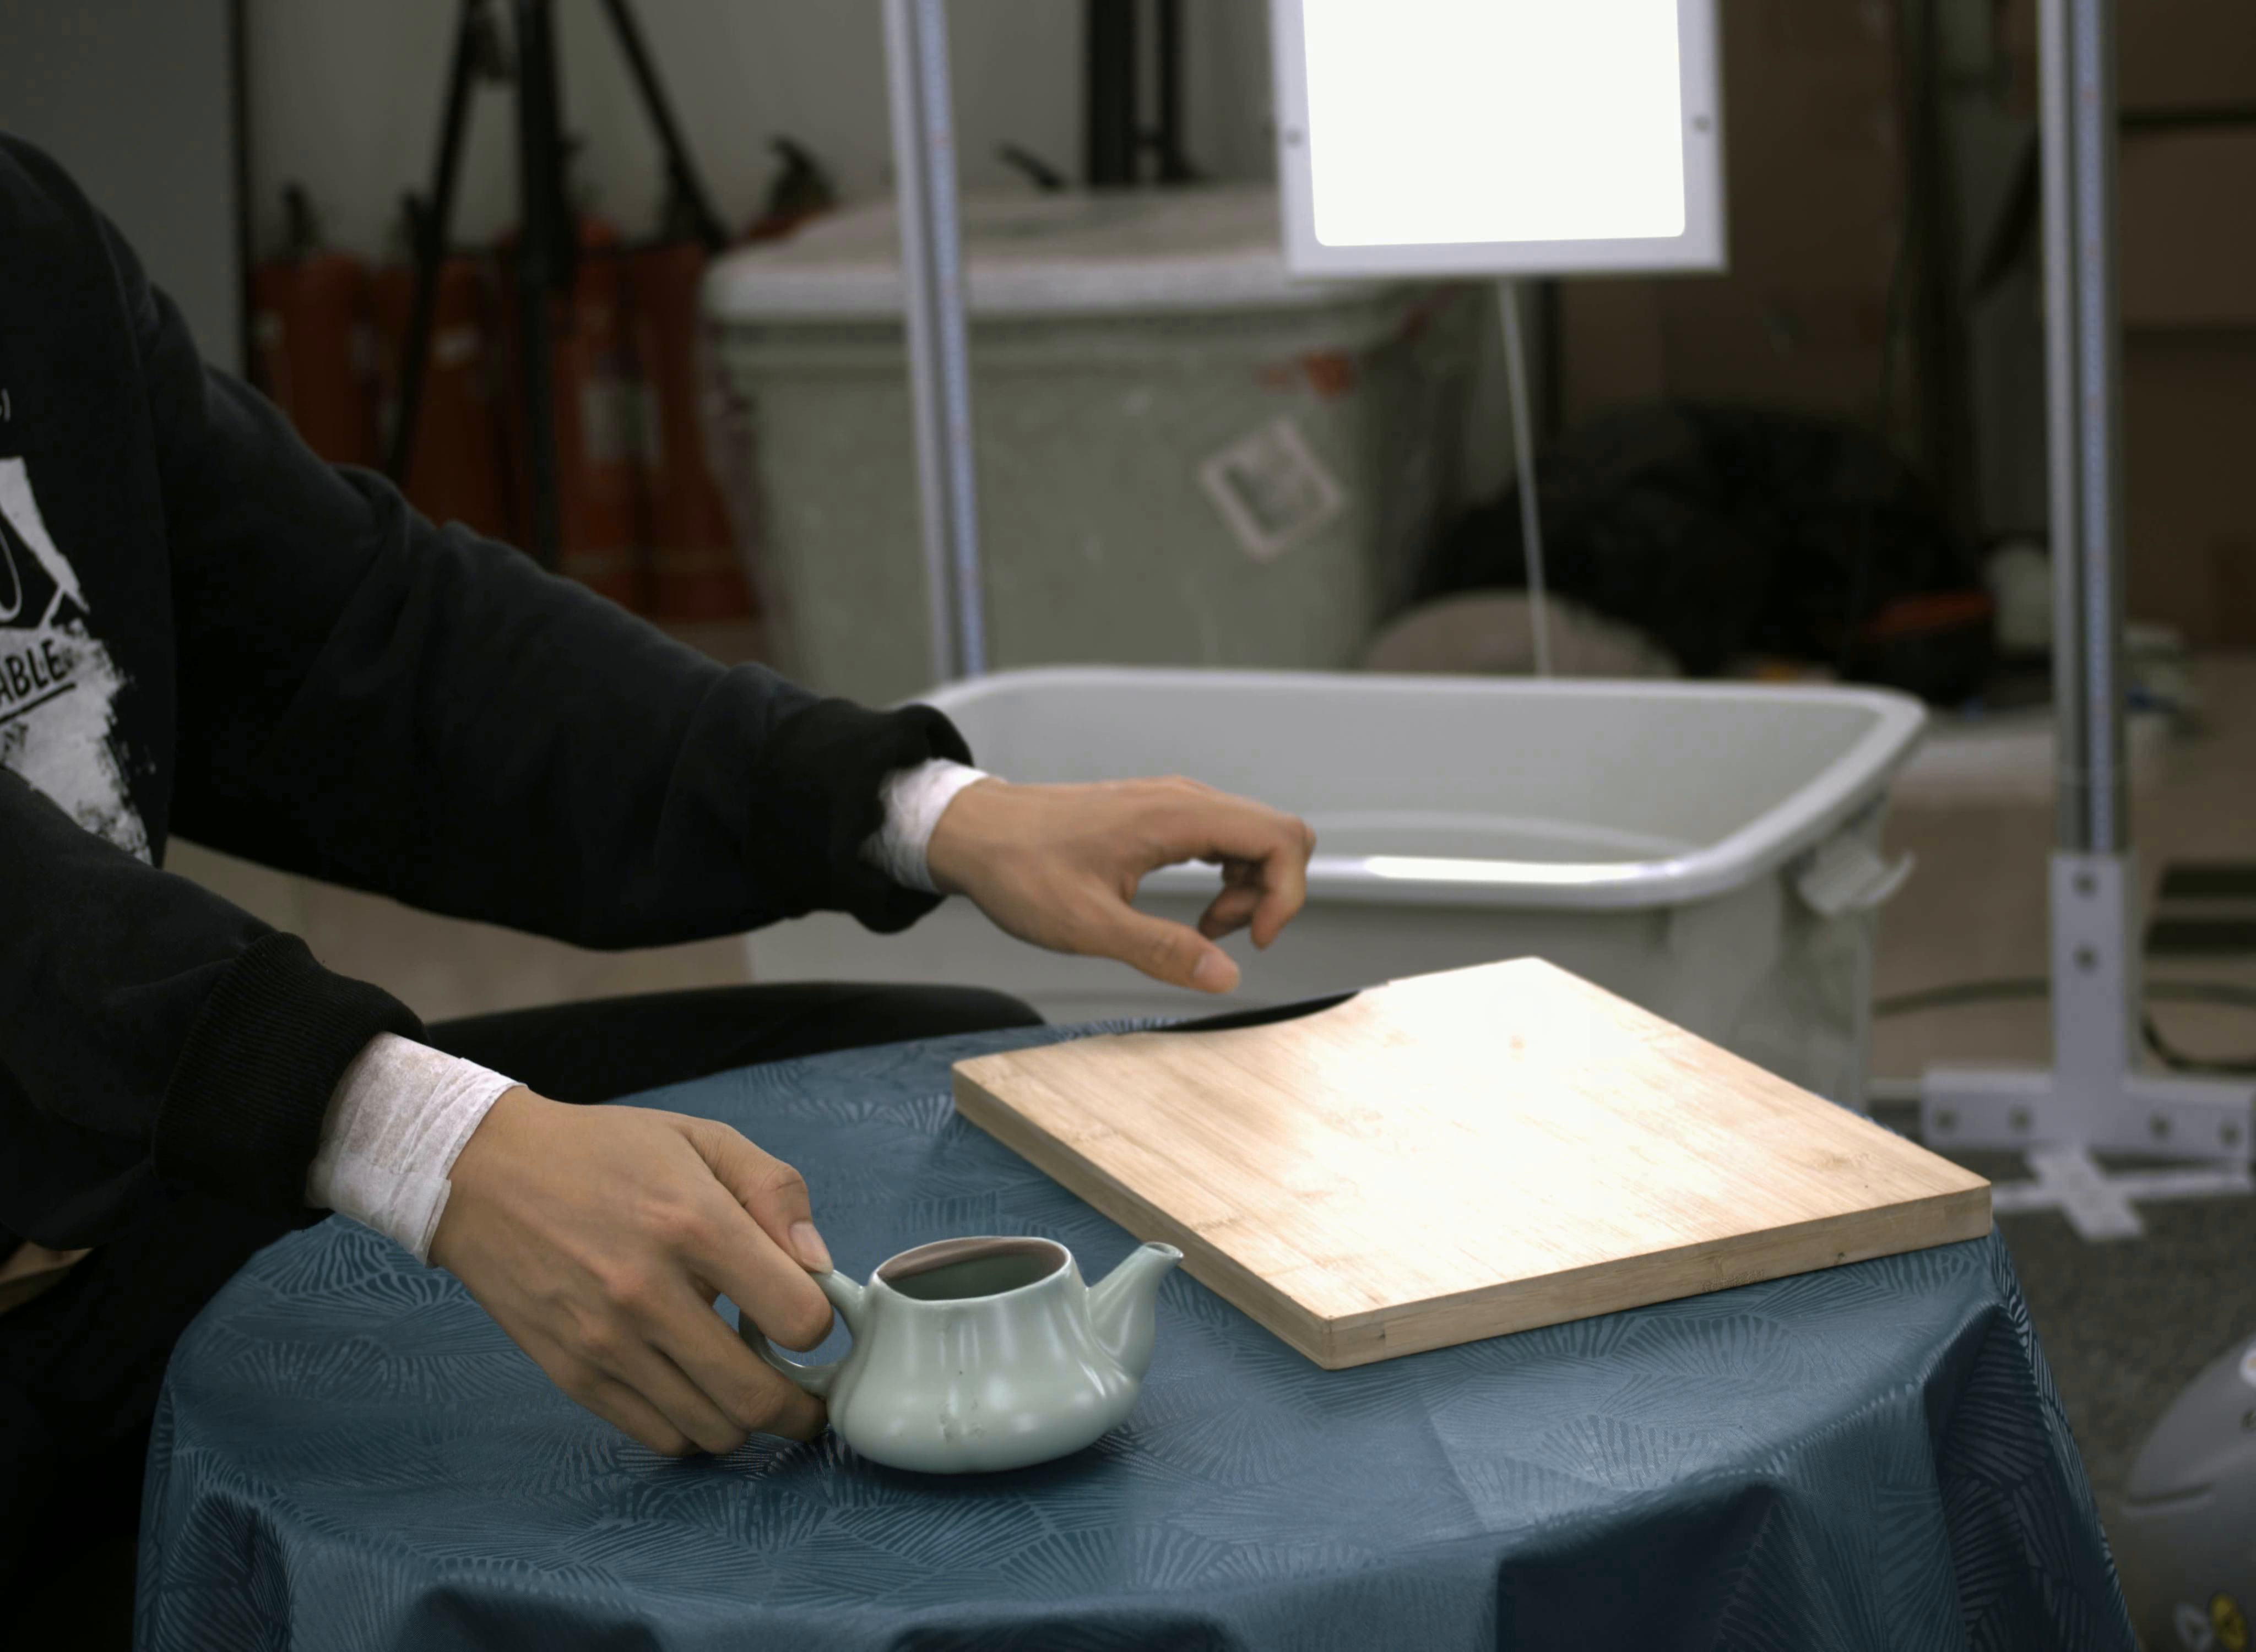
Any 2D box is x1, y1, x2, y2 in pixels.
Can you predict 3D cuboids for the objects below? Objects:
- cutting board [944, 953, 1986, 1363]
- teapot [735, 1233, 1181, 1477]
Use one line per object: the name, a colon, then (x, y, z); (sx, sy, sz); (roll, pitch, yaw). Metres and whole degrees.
cutting board: (0.107, 0.109, 1.898); (0.246, 0.023, 0.353); (-10, 15, -20)
teapot: (-0.049, 0.158, 1.660); (0.137, 0.061, 0.095); (-5, 15, 5)
